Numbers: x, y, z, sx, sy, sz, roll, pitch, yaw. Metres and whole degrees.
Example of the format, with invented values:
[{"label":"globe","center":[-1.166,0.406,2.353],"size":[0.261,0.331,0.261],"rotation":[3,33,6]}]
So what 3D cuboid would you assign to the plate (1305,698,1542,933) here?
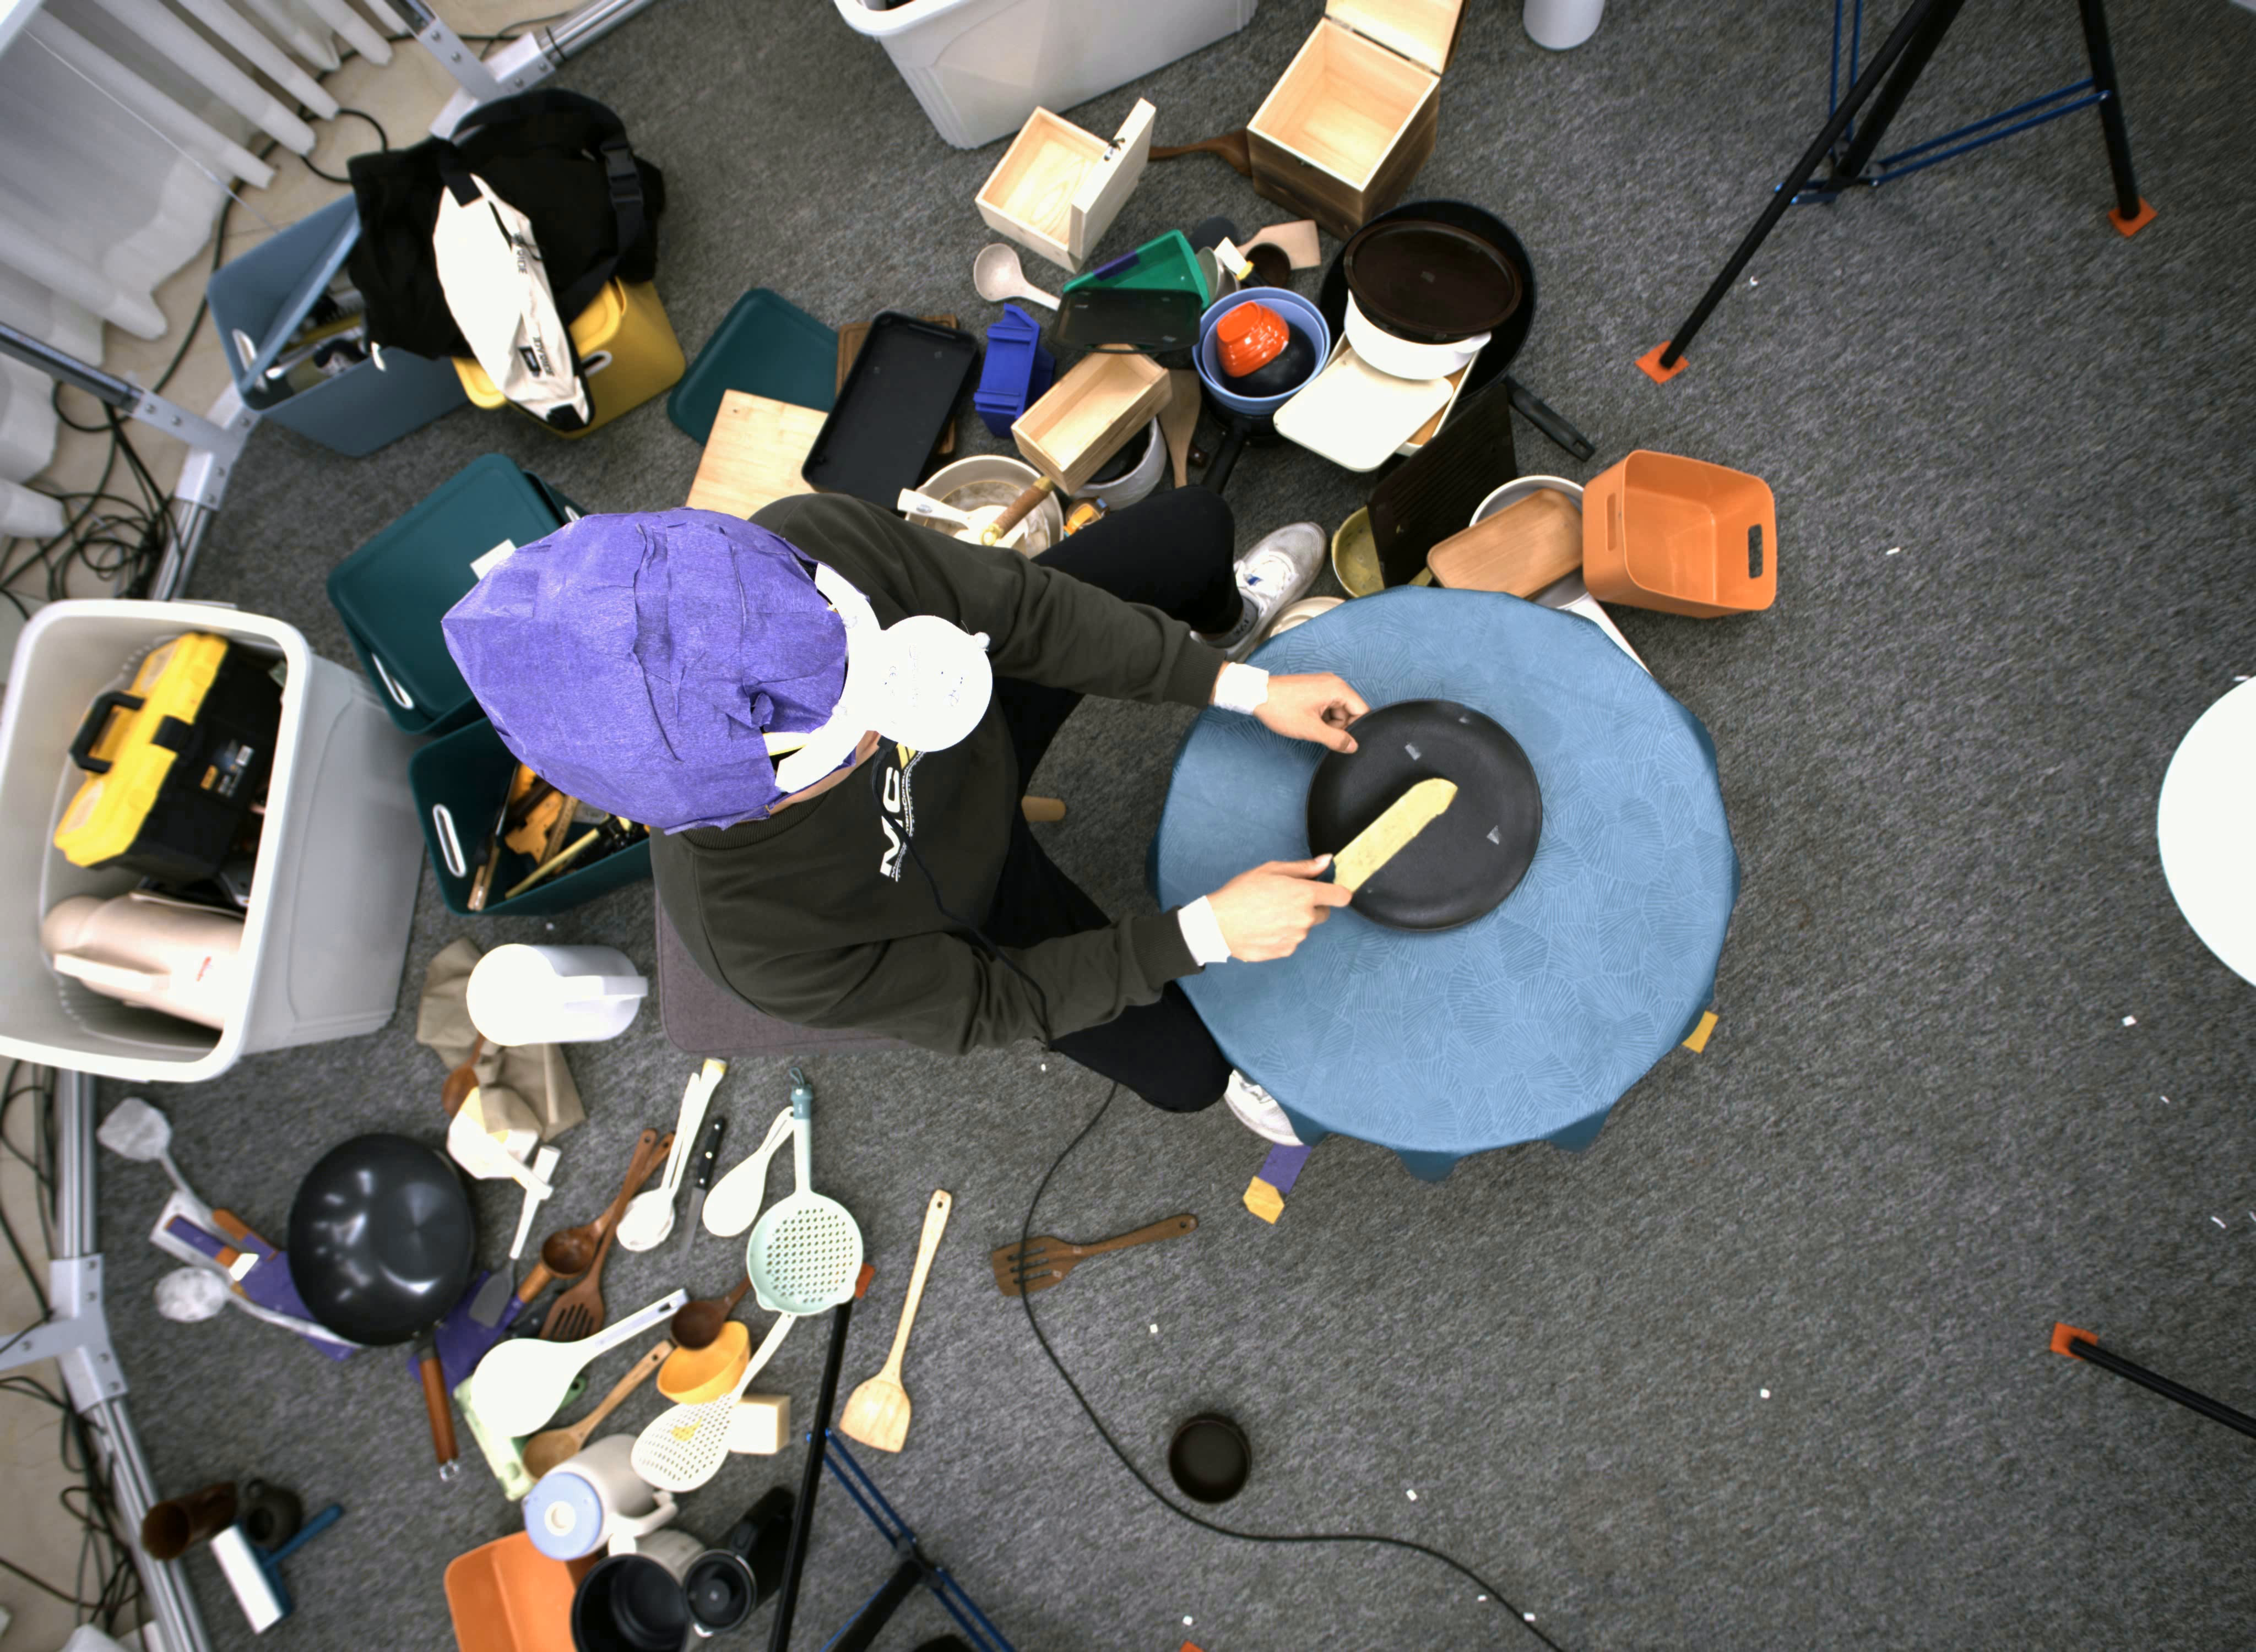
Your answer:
[{"label":"plate","center":[0.305,-0.012,1.425],"size":[0.245,0.023,0.246],"rotation":[1,99,3]}]

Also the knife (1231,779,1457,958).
[{"label":"knife","center":[0.222,0.043,1.393],"size":[0.289,0.082,0.027],"rotation":[-37,50,-4]}]
